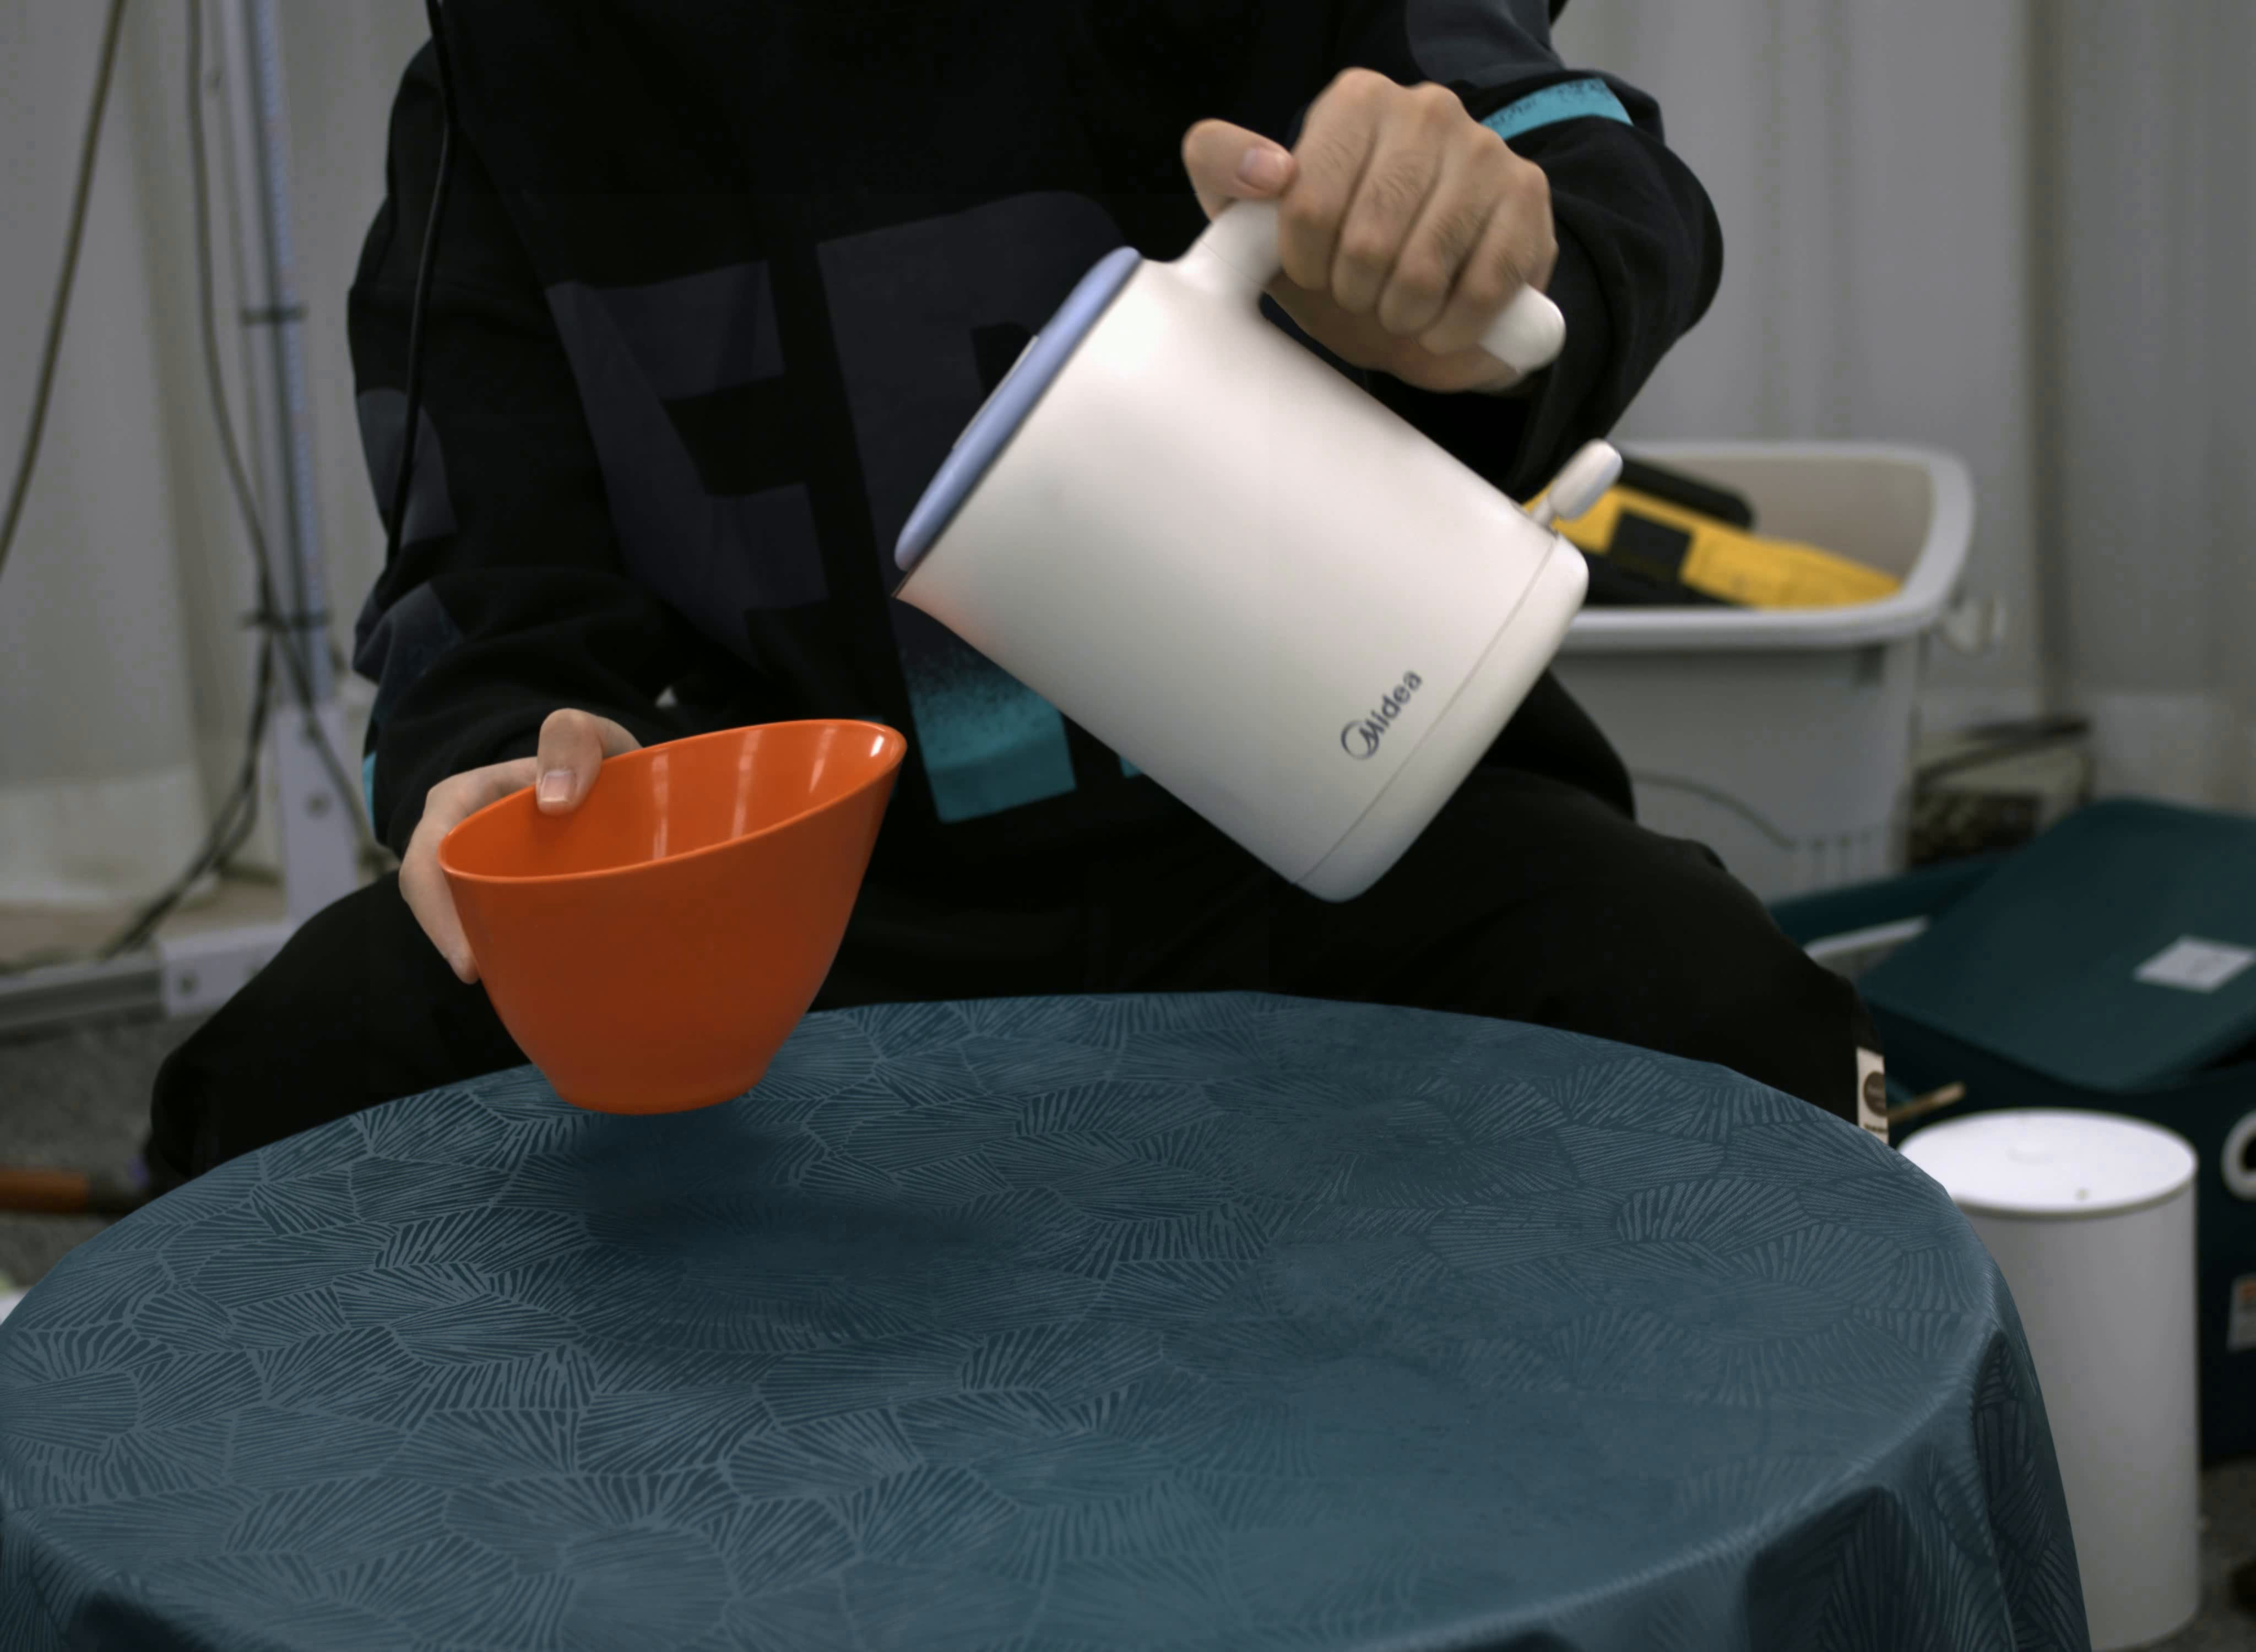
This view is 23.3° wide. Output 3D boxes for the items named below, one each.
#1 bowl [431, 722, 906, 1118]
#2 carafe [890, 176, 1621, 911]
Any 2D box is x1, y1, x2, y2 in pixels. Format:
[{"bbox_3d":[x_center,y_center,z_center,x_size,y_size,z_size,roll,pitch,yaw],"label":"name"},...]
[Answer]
[{"bbox_3d":[-0.139,0.031,1.688,0.147,0.104,0.149,-2,17,0],"label":"bowl"},{"bbox_3d":[0.049,-0.093,1.629,0.182,0.191,0.133,40,8,-4],"label":"carafe"}]
